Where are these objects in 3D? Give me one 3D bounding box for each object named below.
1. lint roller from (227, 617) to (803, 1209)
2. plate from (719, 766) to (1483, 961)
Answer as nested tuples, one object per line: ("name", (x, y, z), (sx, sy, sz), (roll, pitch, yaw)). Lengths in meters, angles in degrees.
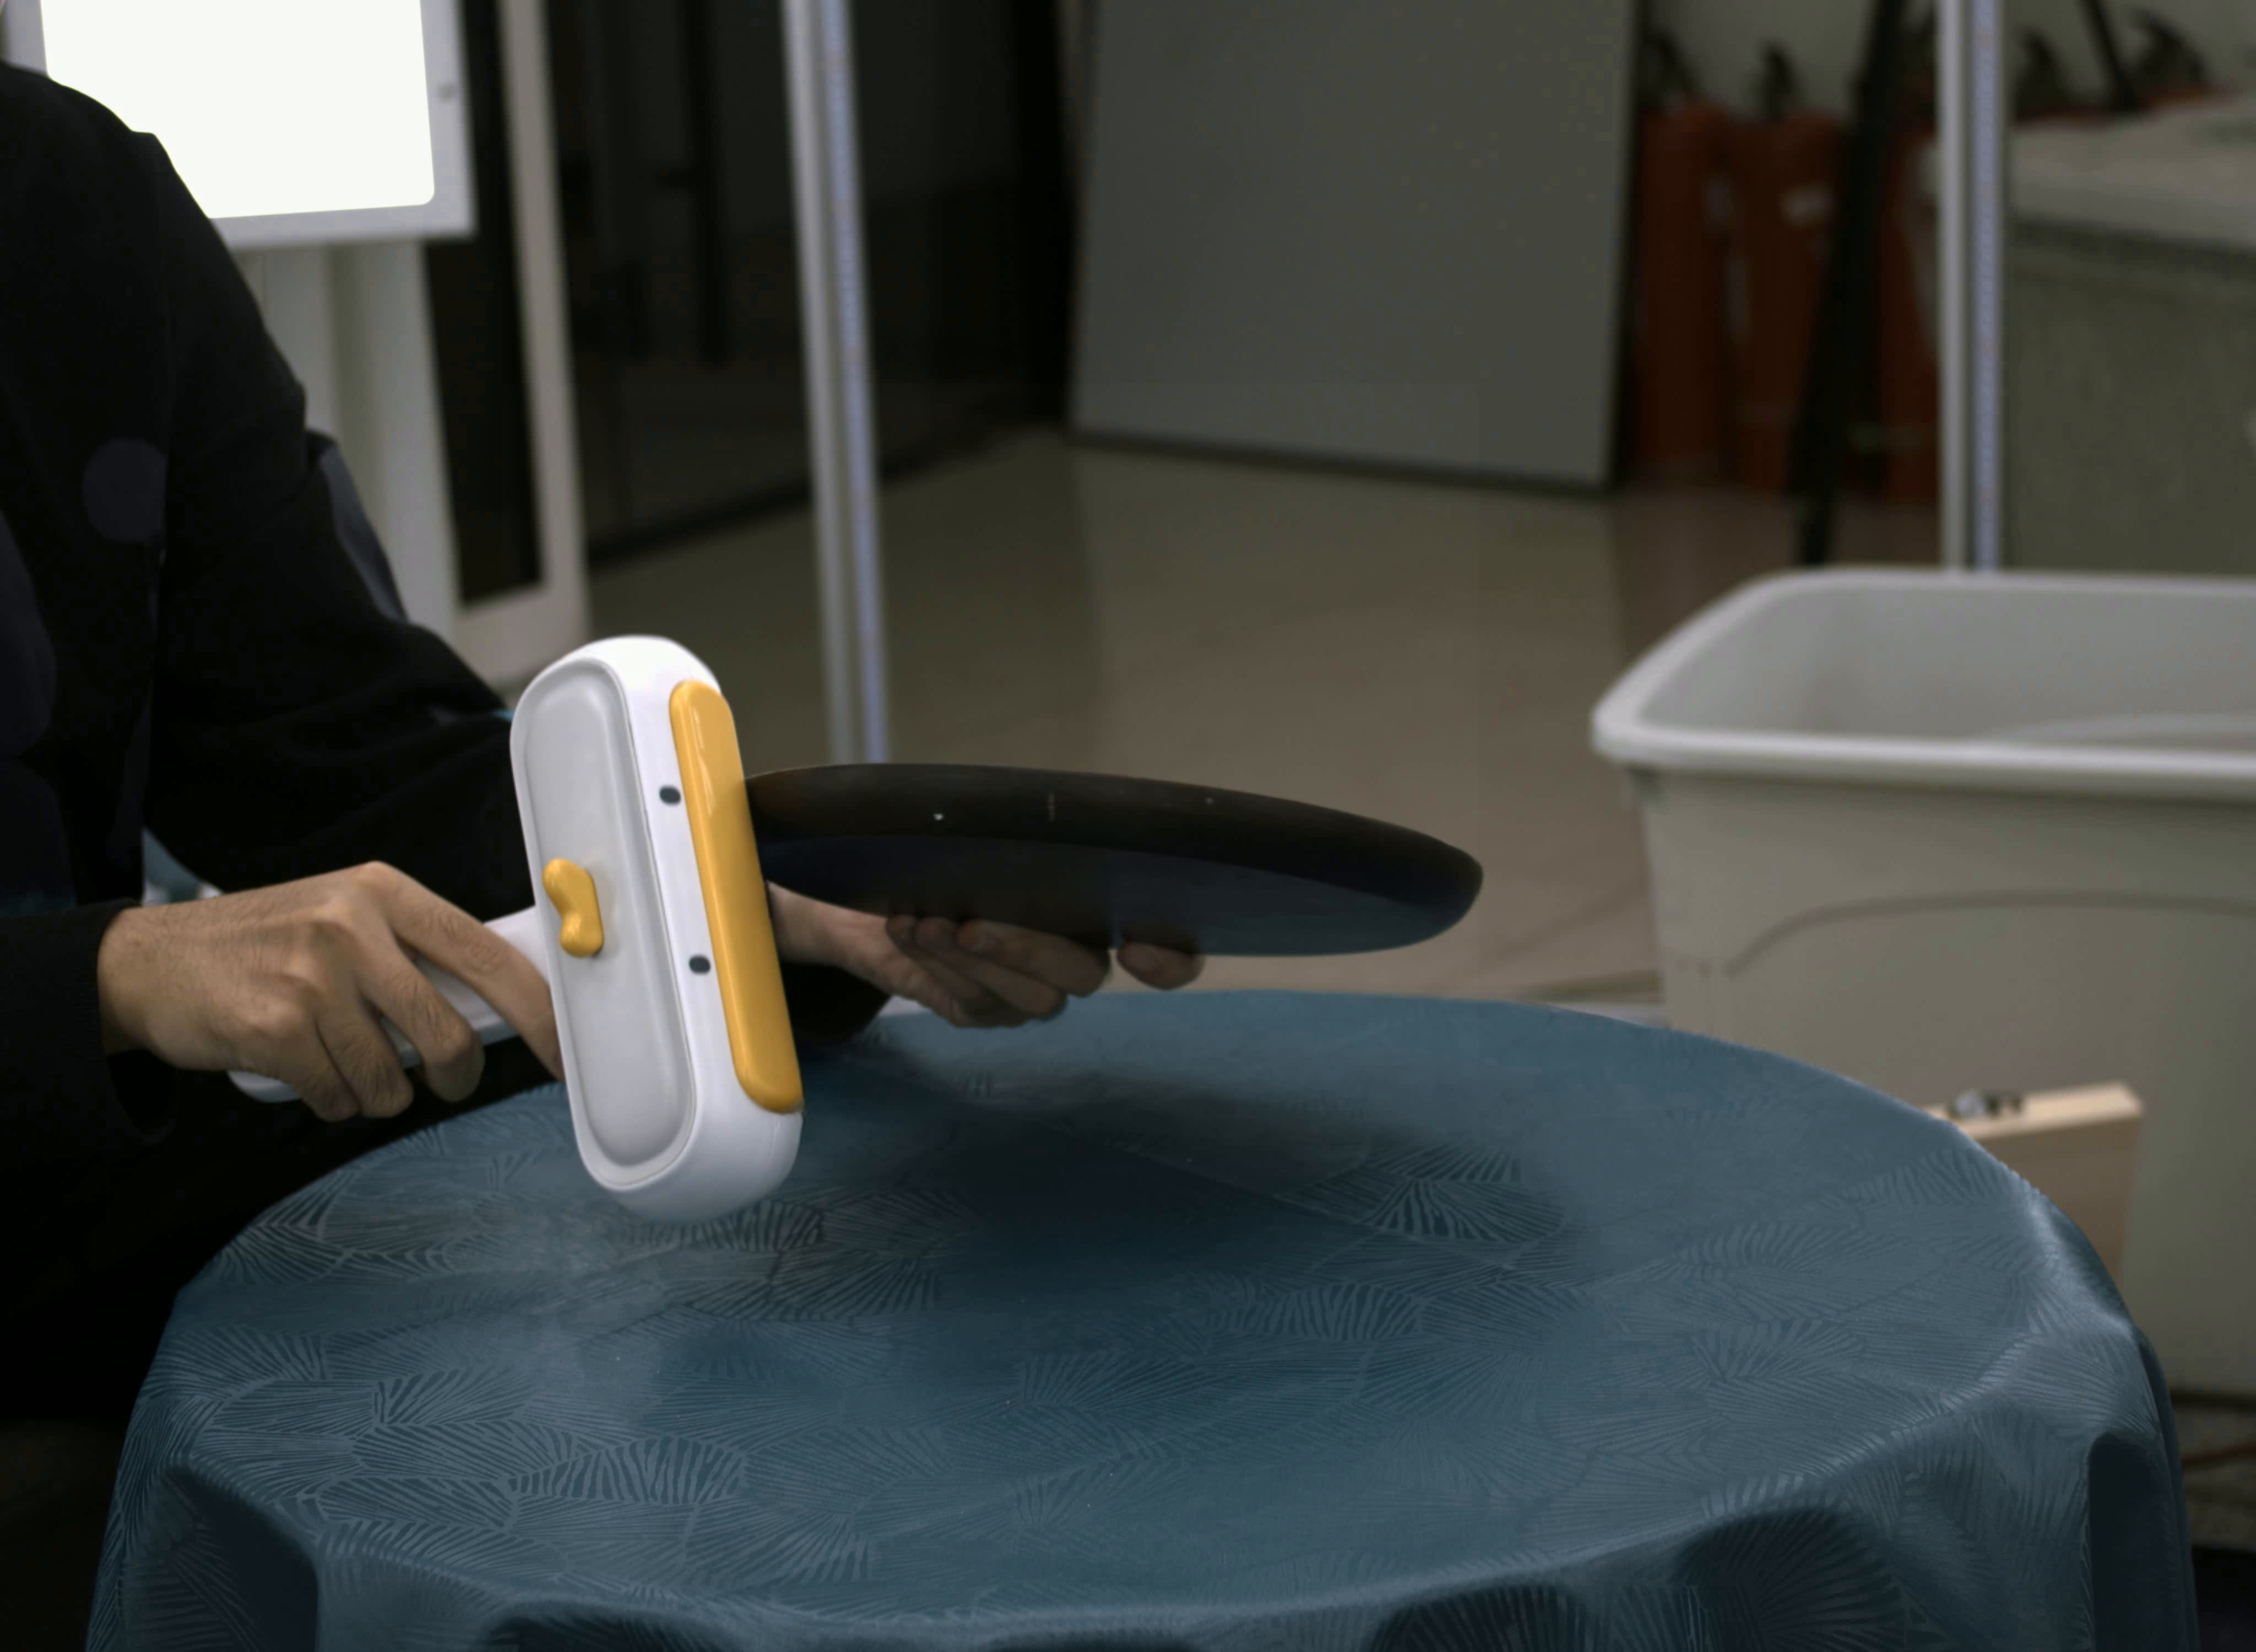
("lint roller", (-0.202, 0.050, 1.737), (0.193, 0.195, 0.073), (-27, -20, 26))
("plate", (-0.009, 0.013, 1.762), (0.251, 0.029, 0.255), (4, -10, 0))
